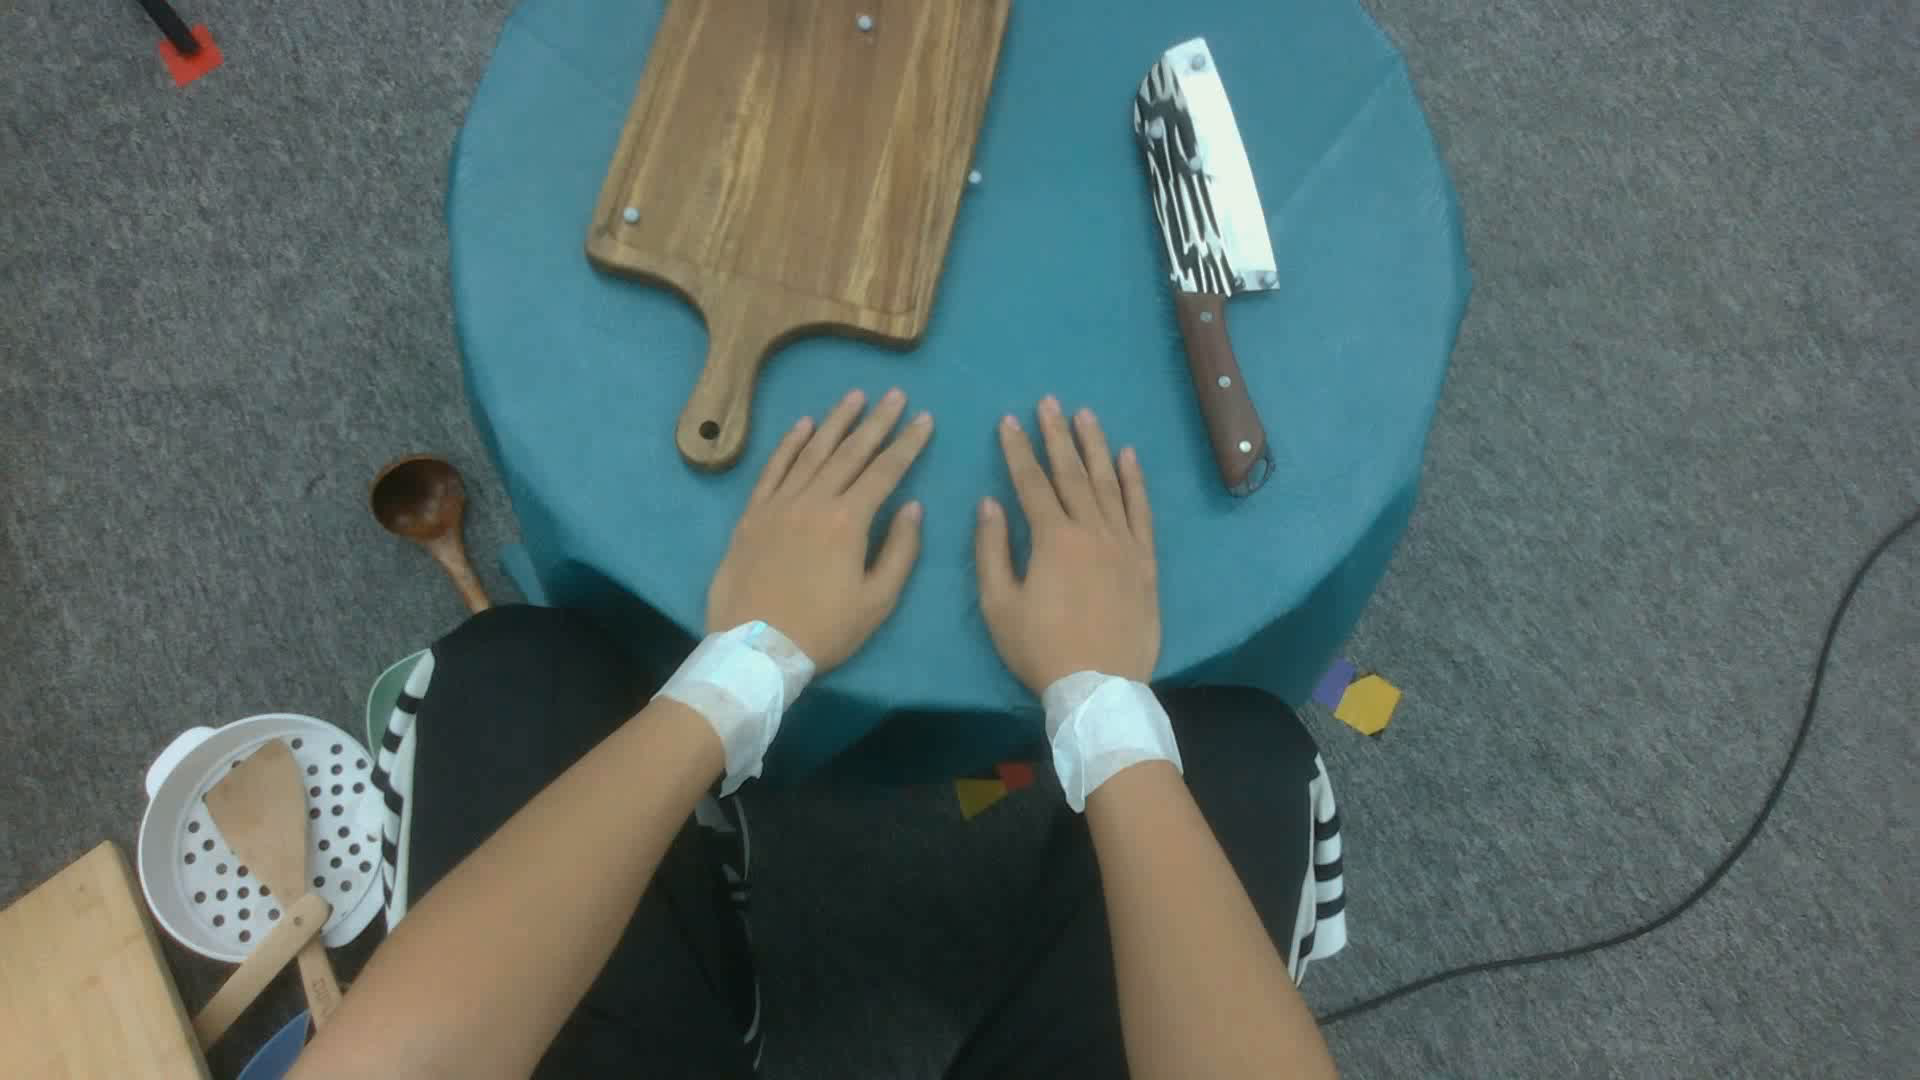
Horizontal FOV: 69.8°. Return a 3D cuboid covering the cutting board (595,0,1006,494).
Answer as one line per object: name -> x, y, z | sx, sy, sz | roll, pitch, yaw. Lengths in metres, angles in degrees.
cutting board -> -0.101, -0.194, 0.817 | 0.201, 0.023, 0.353 | 13, 73, -1

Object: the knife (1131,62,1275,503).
knife -> 0.153, -0.164, 0.832 | 0.068, 0.024, 0.300 | -6, 71, -9
